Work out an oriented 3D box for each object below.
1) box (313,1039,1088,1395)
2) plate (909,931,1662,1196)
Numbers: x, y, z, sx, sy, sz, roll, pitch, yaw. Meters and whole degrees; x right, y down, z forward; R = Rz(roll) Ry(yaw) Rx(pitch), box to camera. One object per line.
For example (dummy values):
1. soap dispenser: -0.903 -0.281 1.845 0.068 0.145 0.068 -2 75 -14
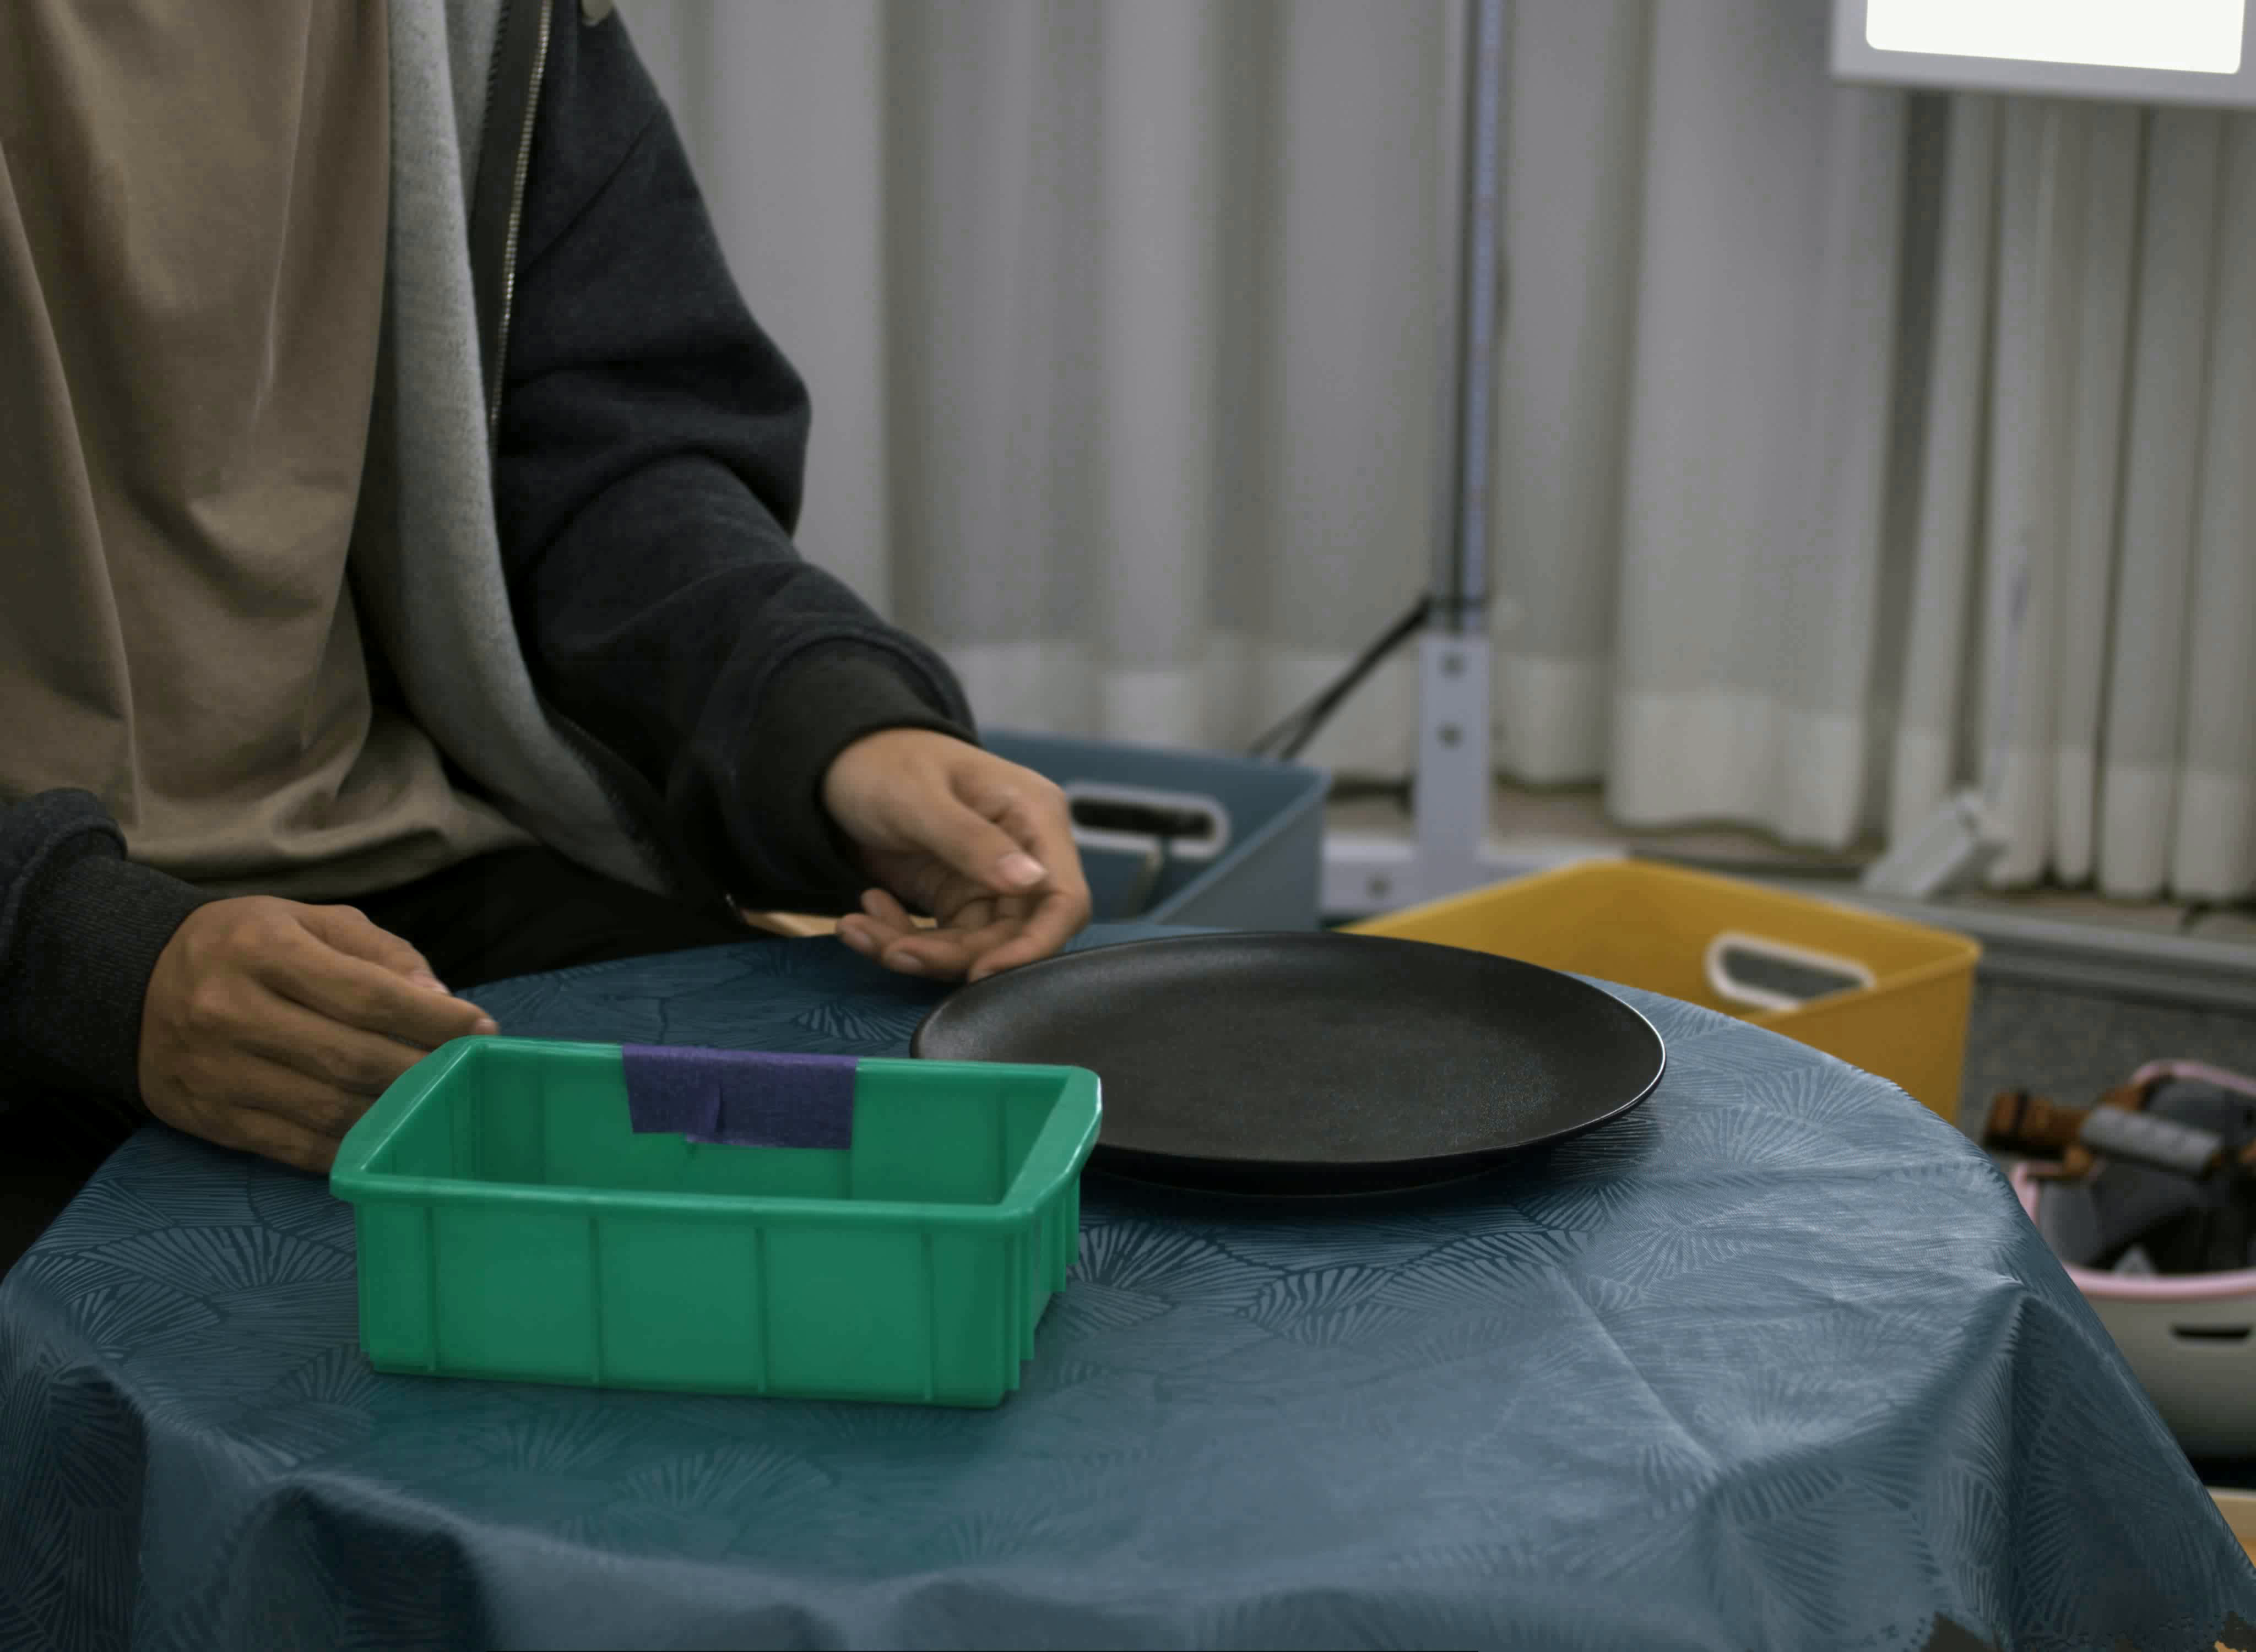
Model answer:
1. box: -0.118 0.111 1.503 0.209 0.066 0.138 1 14 7
2. plate: 0.051 0.079 1.701 0.243 0.023 0.243 0 16 0
